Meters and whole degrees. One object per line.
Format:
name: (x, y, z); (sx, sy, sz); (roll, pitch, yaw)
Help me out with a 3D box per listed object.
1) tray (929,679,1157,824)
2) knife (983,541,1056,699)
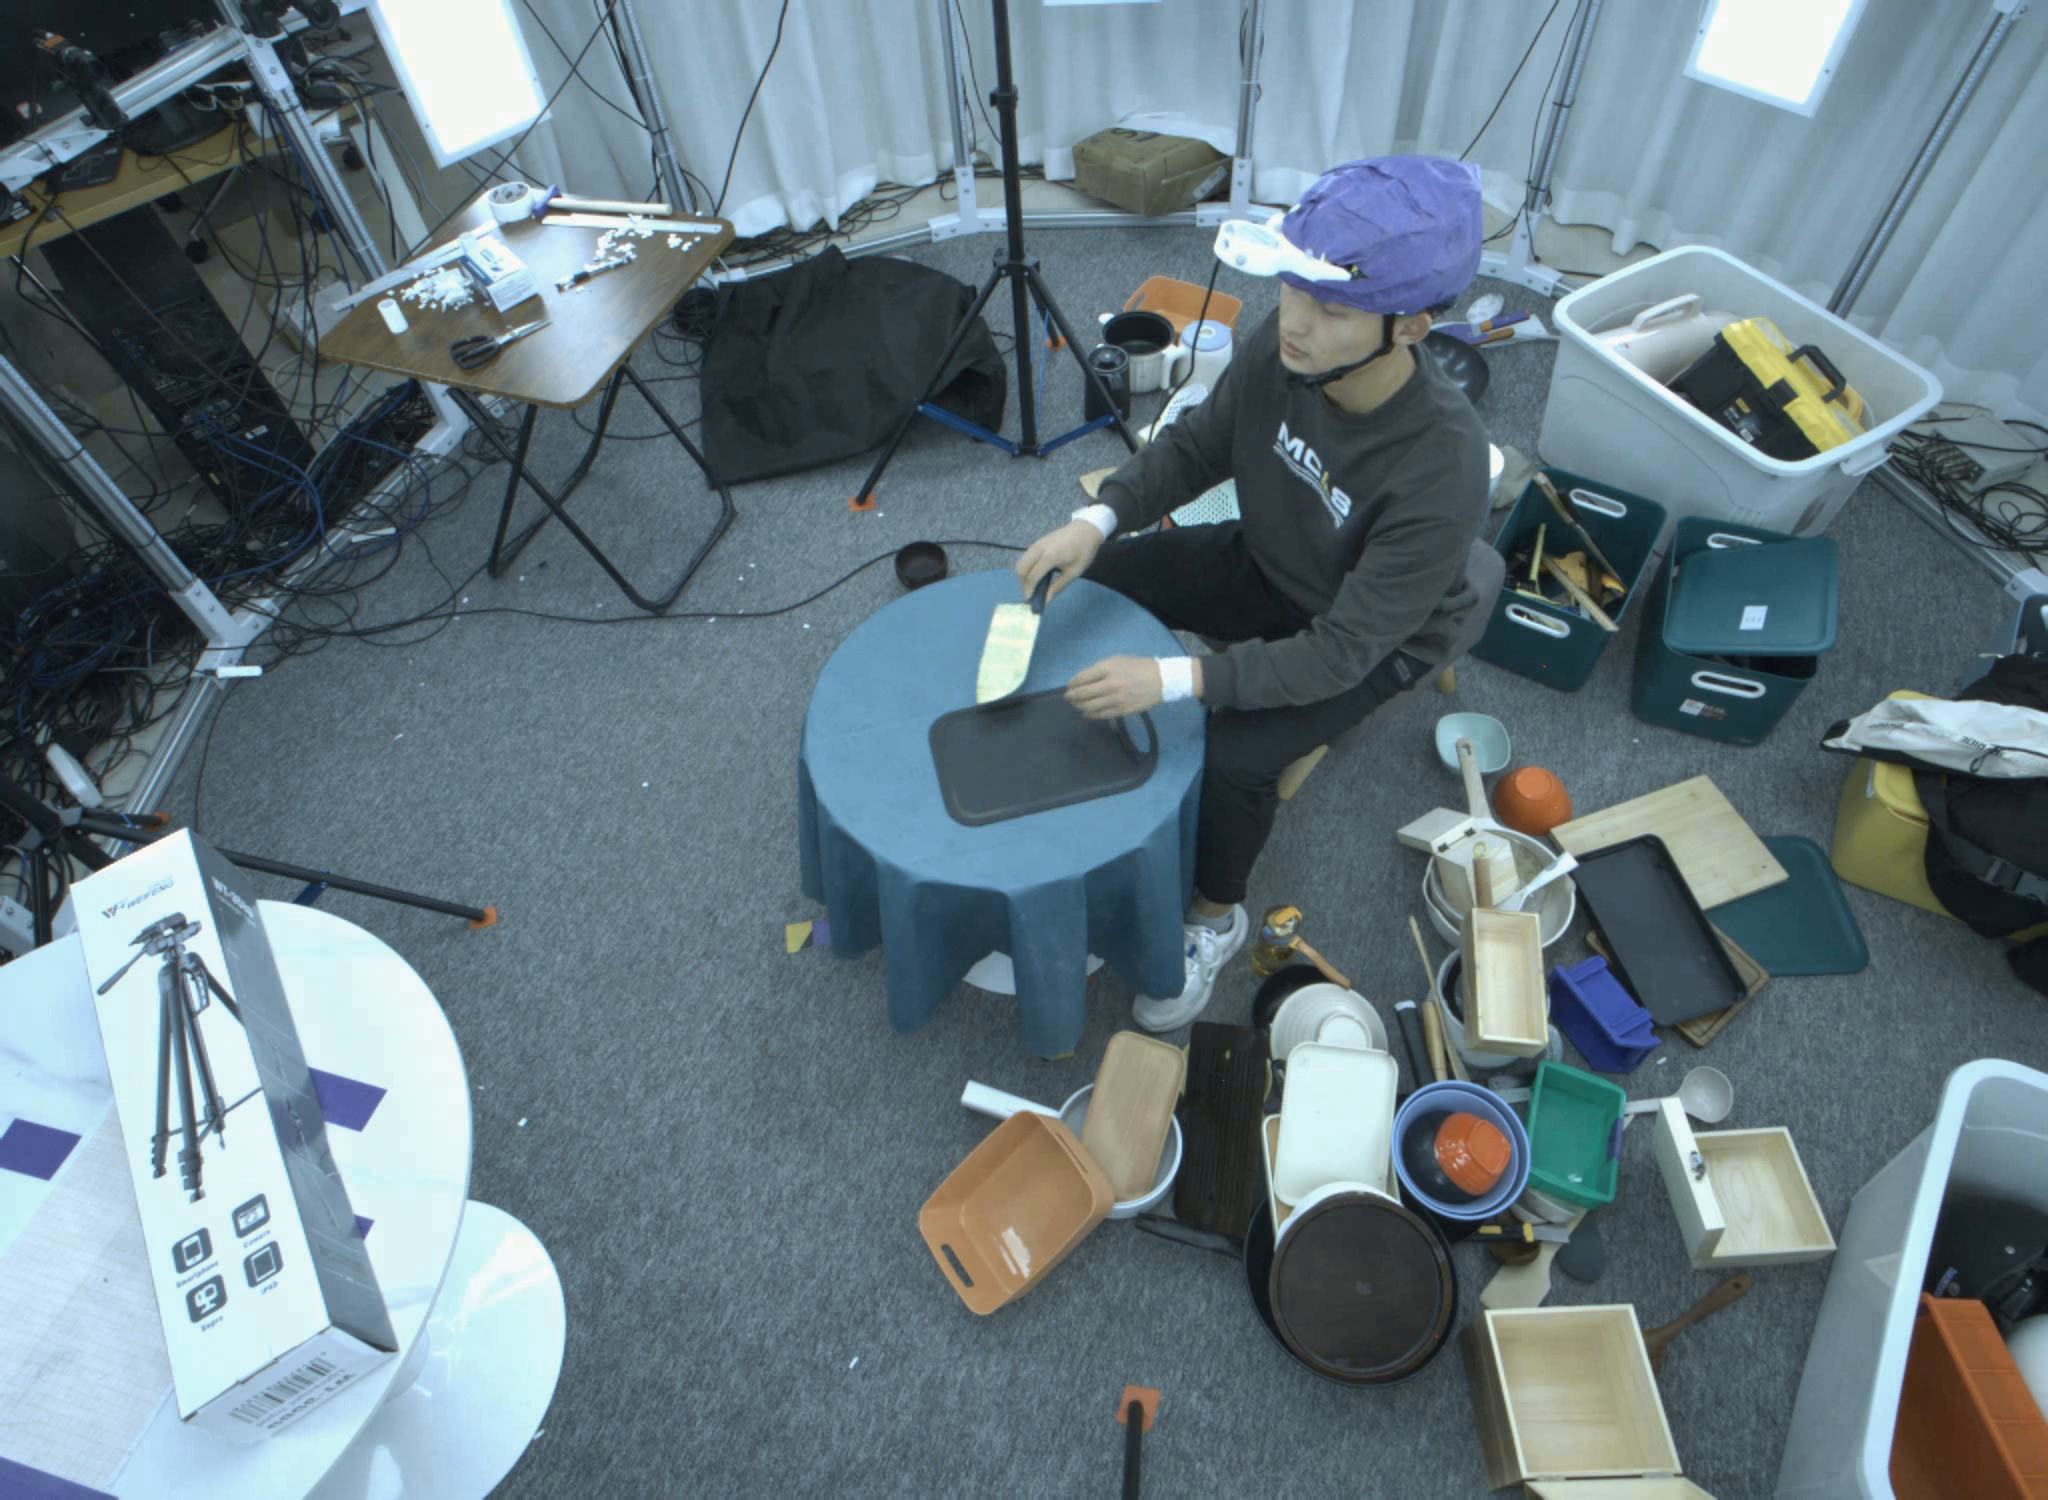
tray: (0.031, -0.006, 1.794); (0.327, 0.010, 0.208); (-12, 55, -7)
knife: (-0.006, -0.198, 1.849); (0.080, 0.027, 0.288); (10, 64, 13)
